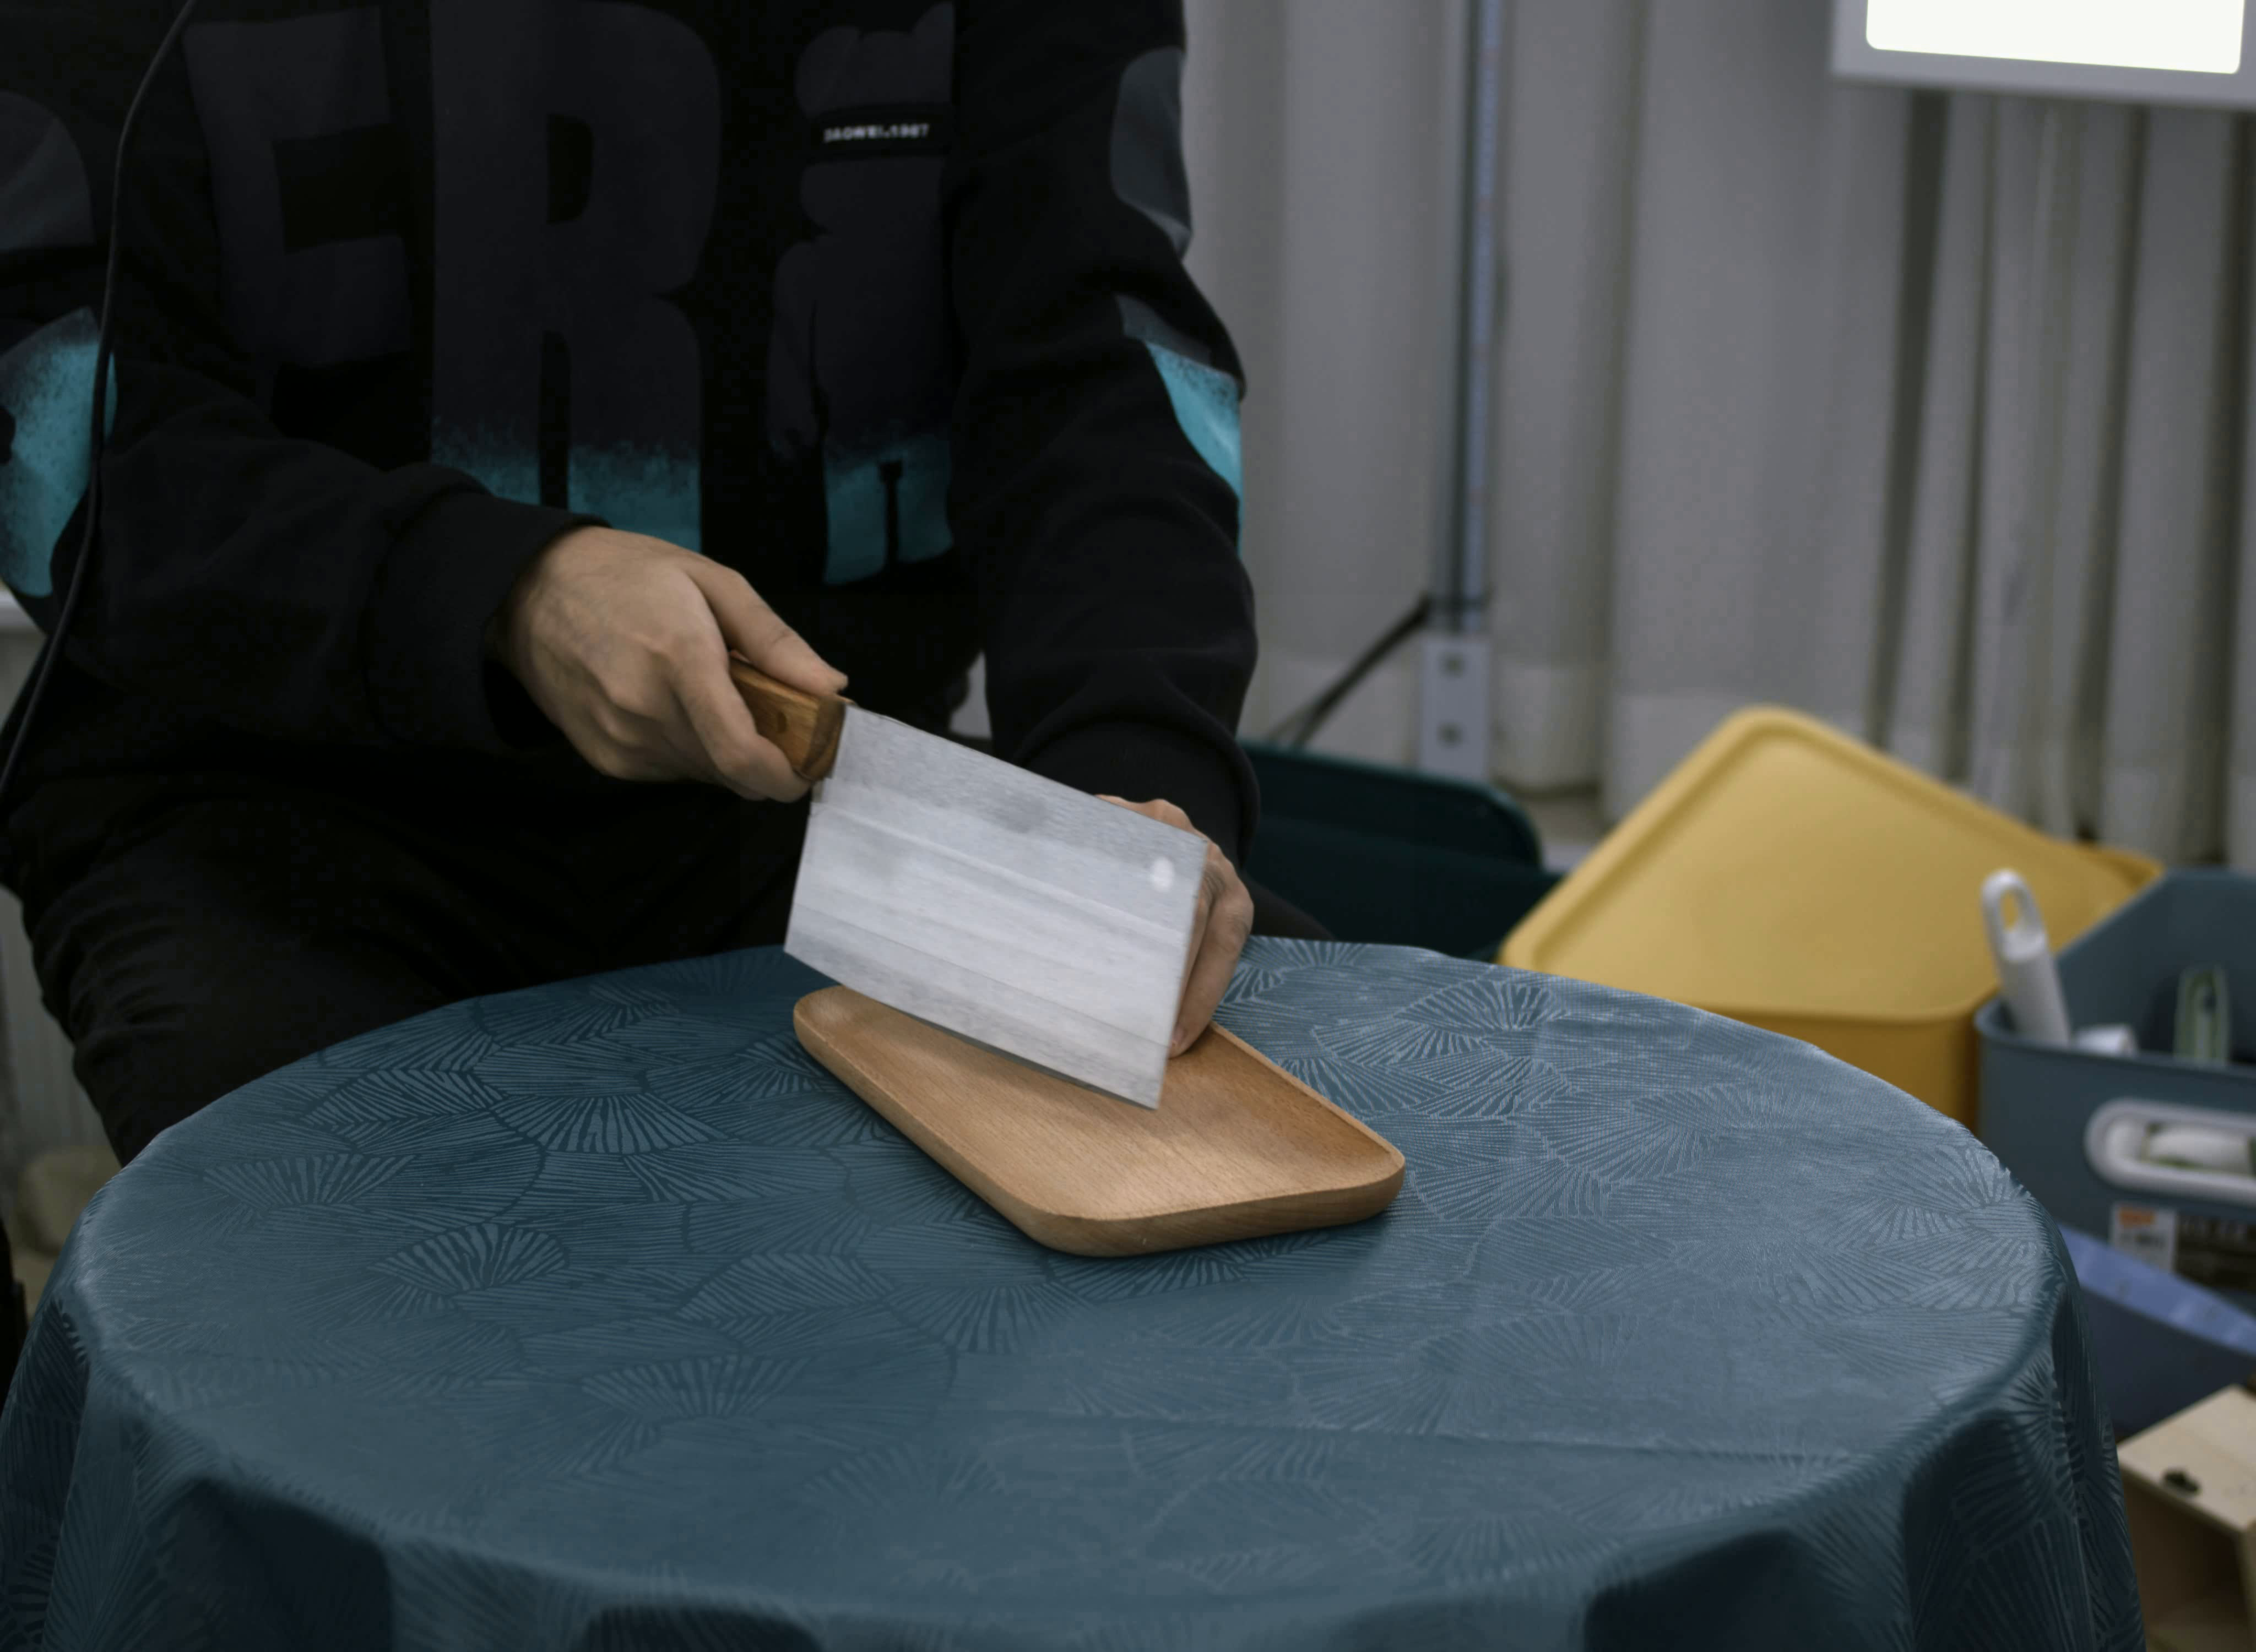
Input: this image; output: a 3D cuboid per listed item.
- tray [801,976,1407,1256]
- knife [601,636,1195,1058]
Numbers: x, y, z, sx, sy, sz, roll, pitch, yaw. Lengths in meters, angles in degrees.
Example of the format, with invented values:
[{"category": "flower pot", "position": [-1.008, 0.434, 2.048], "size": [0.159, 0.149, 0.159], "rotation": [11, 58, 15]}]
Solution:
[{"category": "tray", "position": [-0.012, 0.087, 1.683], "size": [0.131, 0.023, 0.248], "rotation": [-4, 15, -22]}, {"category": "knife", "position": [-0.083, 0.007, 1.737], "size": [0.021, 0.093, 0.301], "rotation": [0, 14, -43]}]
